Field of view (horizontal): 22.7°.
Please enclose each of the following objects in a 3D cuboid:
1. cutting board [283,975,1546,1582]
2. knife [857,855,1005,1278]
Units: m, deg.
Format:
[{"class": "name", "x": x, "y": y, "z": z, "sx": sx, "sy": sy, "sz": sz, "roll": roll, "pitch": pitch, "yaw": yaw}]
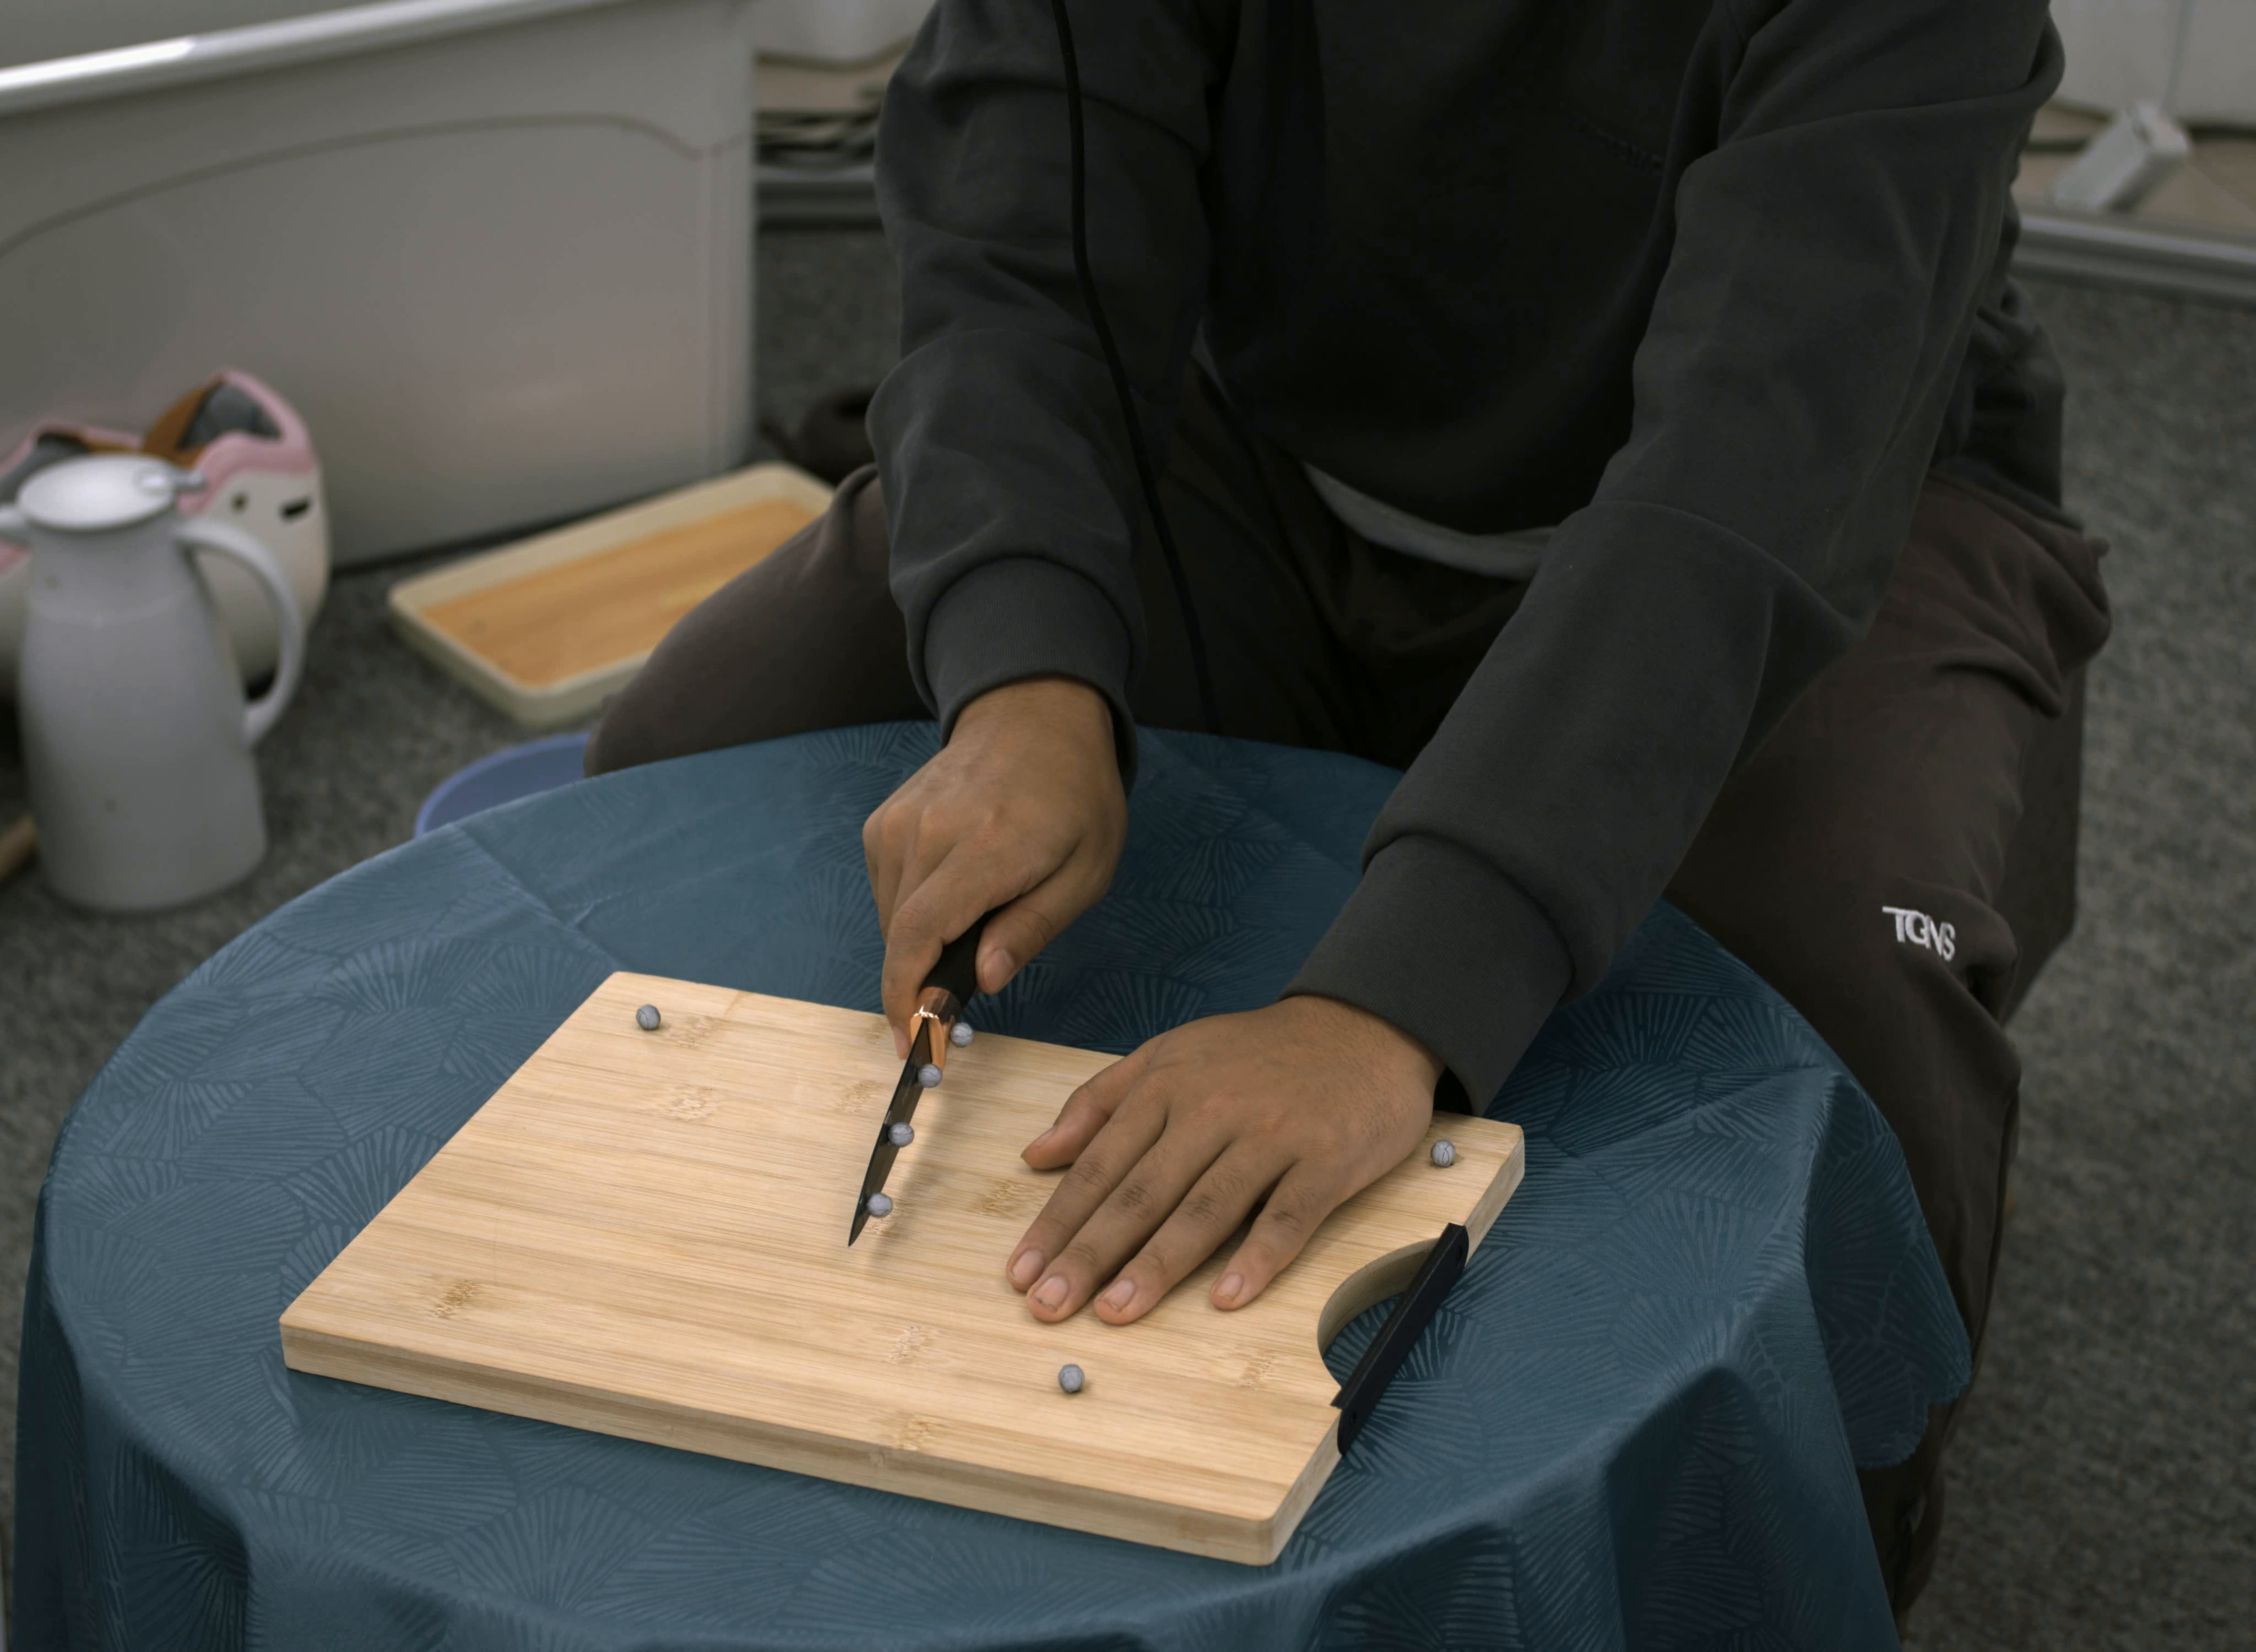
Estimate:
[{"class": "cutting board", "x": -0.065, "y": 0.138, "z": 1.821, "sx": 0.346, "sy": 0.023, "sz": 0.255, "roll": 8, "pitch": 30, "yaw": 20}, {"class": "knife", "x": -0.067, "y": 0.077, "z": 1.880, "sx": 0.017, "sy": 0.026, "sz": 0.230, "roll": 0, "pitch": 32, "yaw": 11}]
